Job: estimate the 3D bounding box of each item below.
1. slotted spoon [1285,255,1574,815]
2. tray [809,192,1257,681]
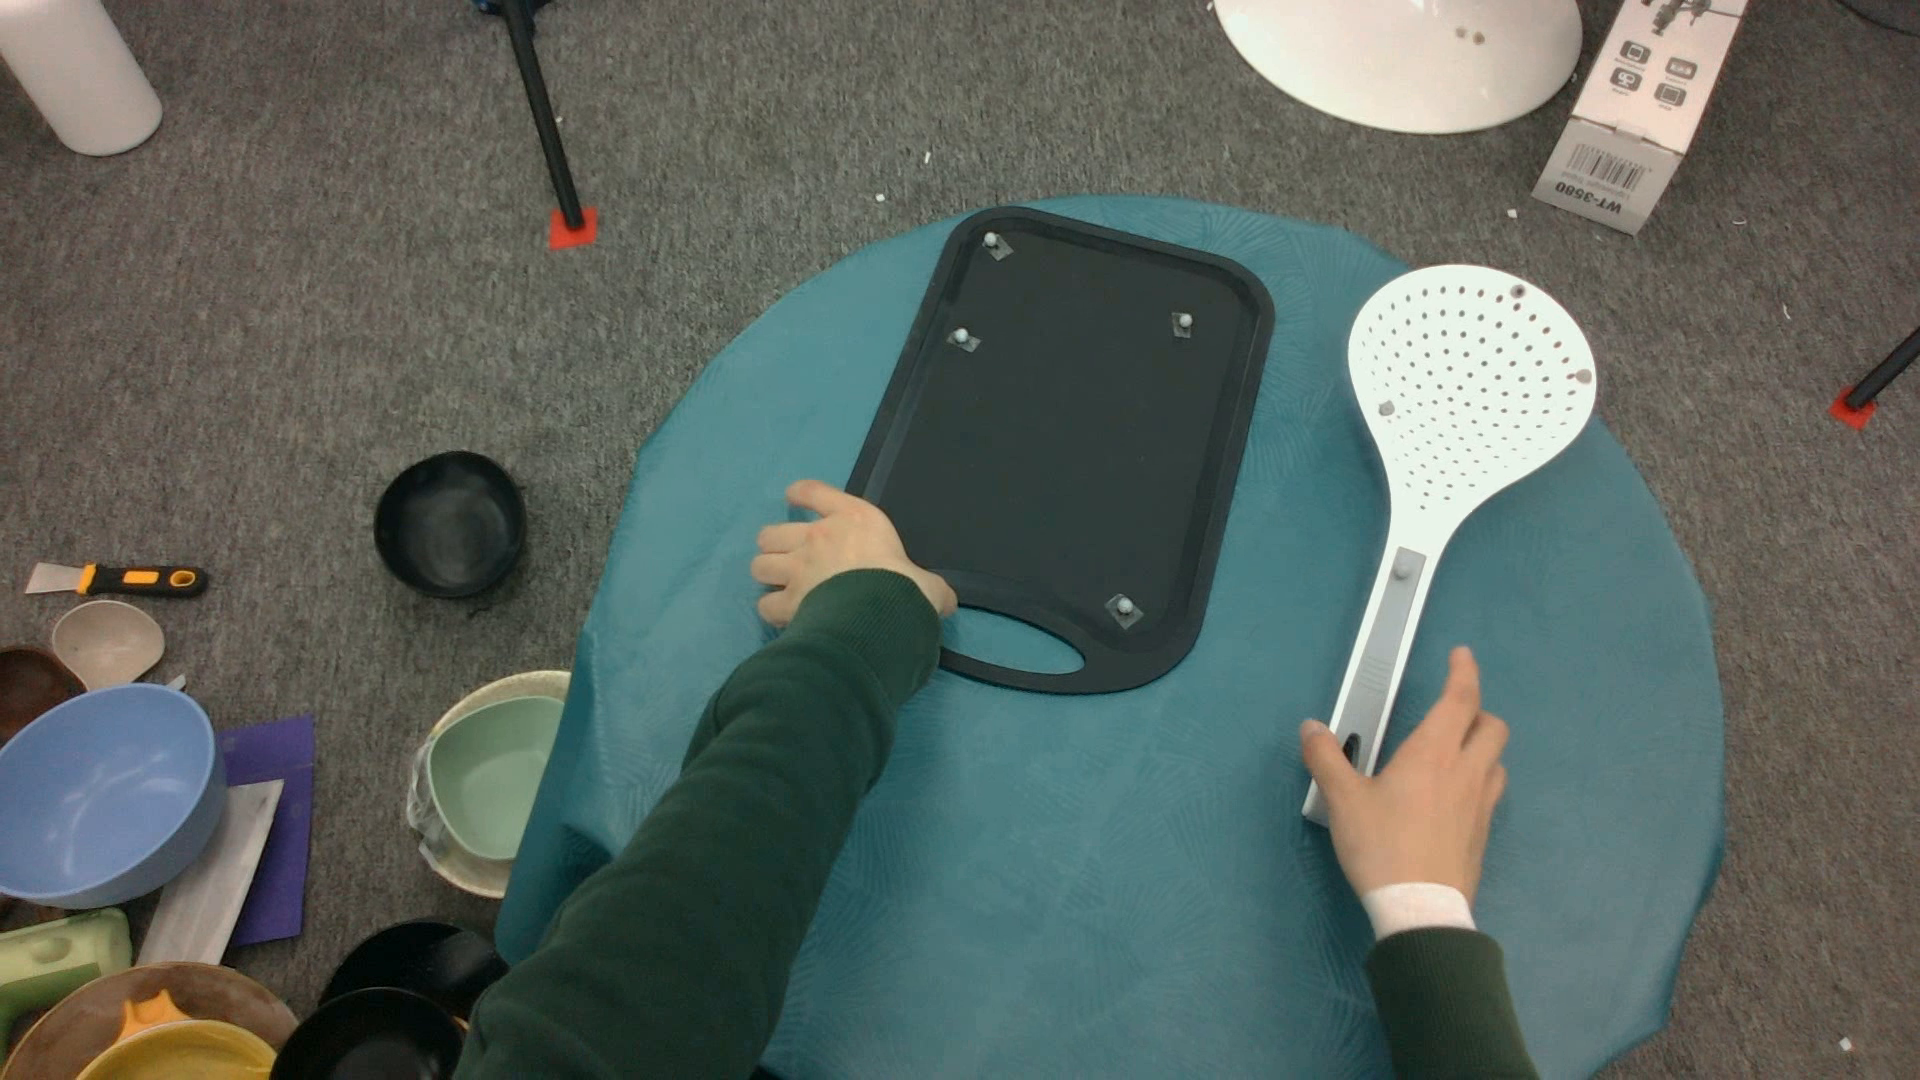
[{"bbox_3d":[0.240,-0.014,0.748,0.136,0.045,0.351,20,62,10],"label":"slotted spoon"},{"bbox_3d":[0.048,-0.070,0.791,0.211,0.010,0.327,15,61,6],"label":"tray"}]
